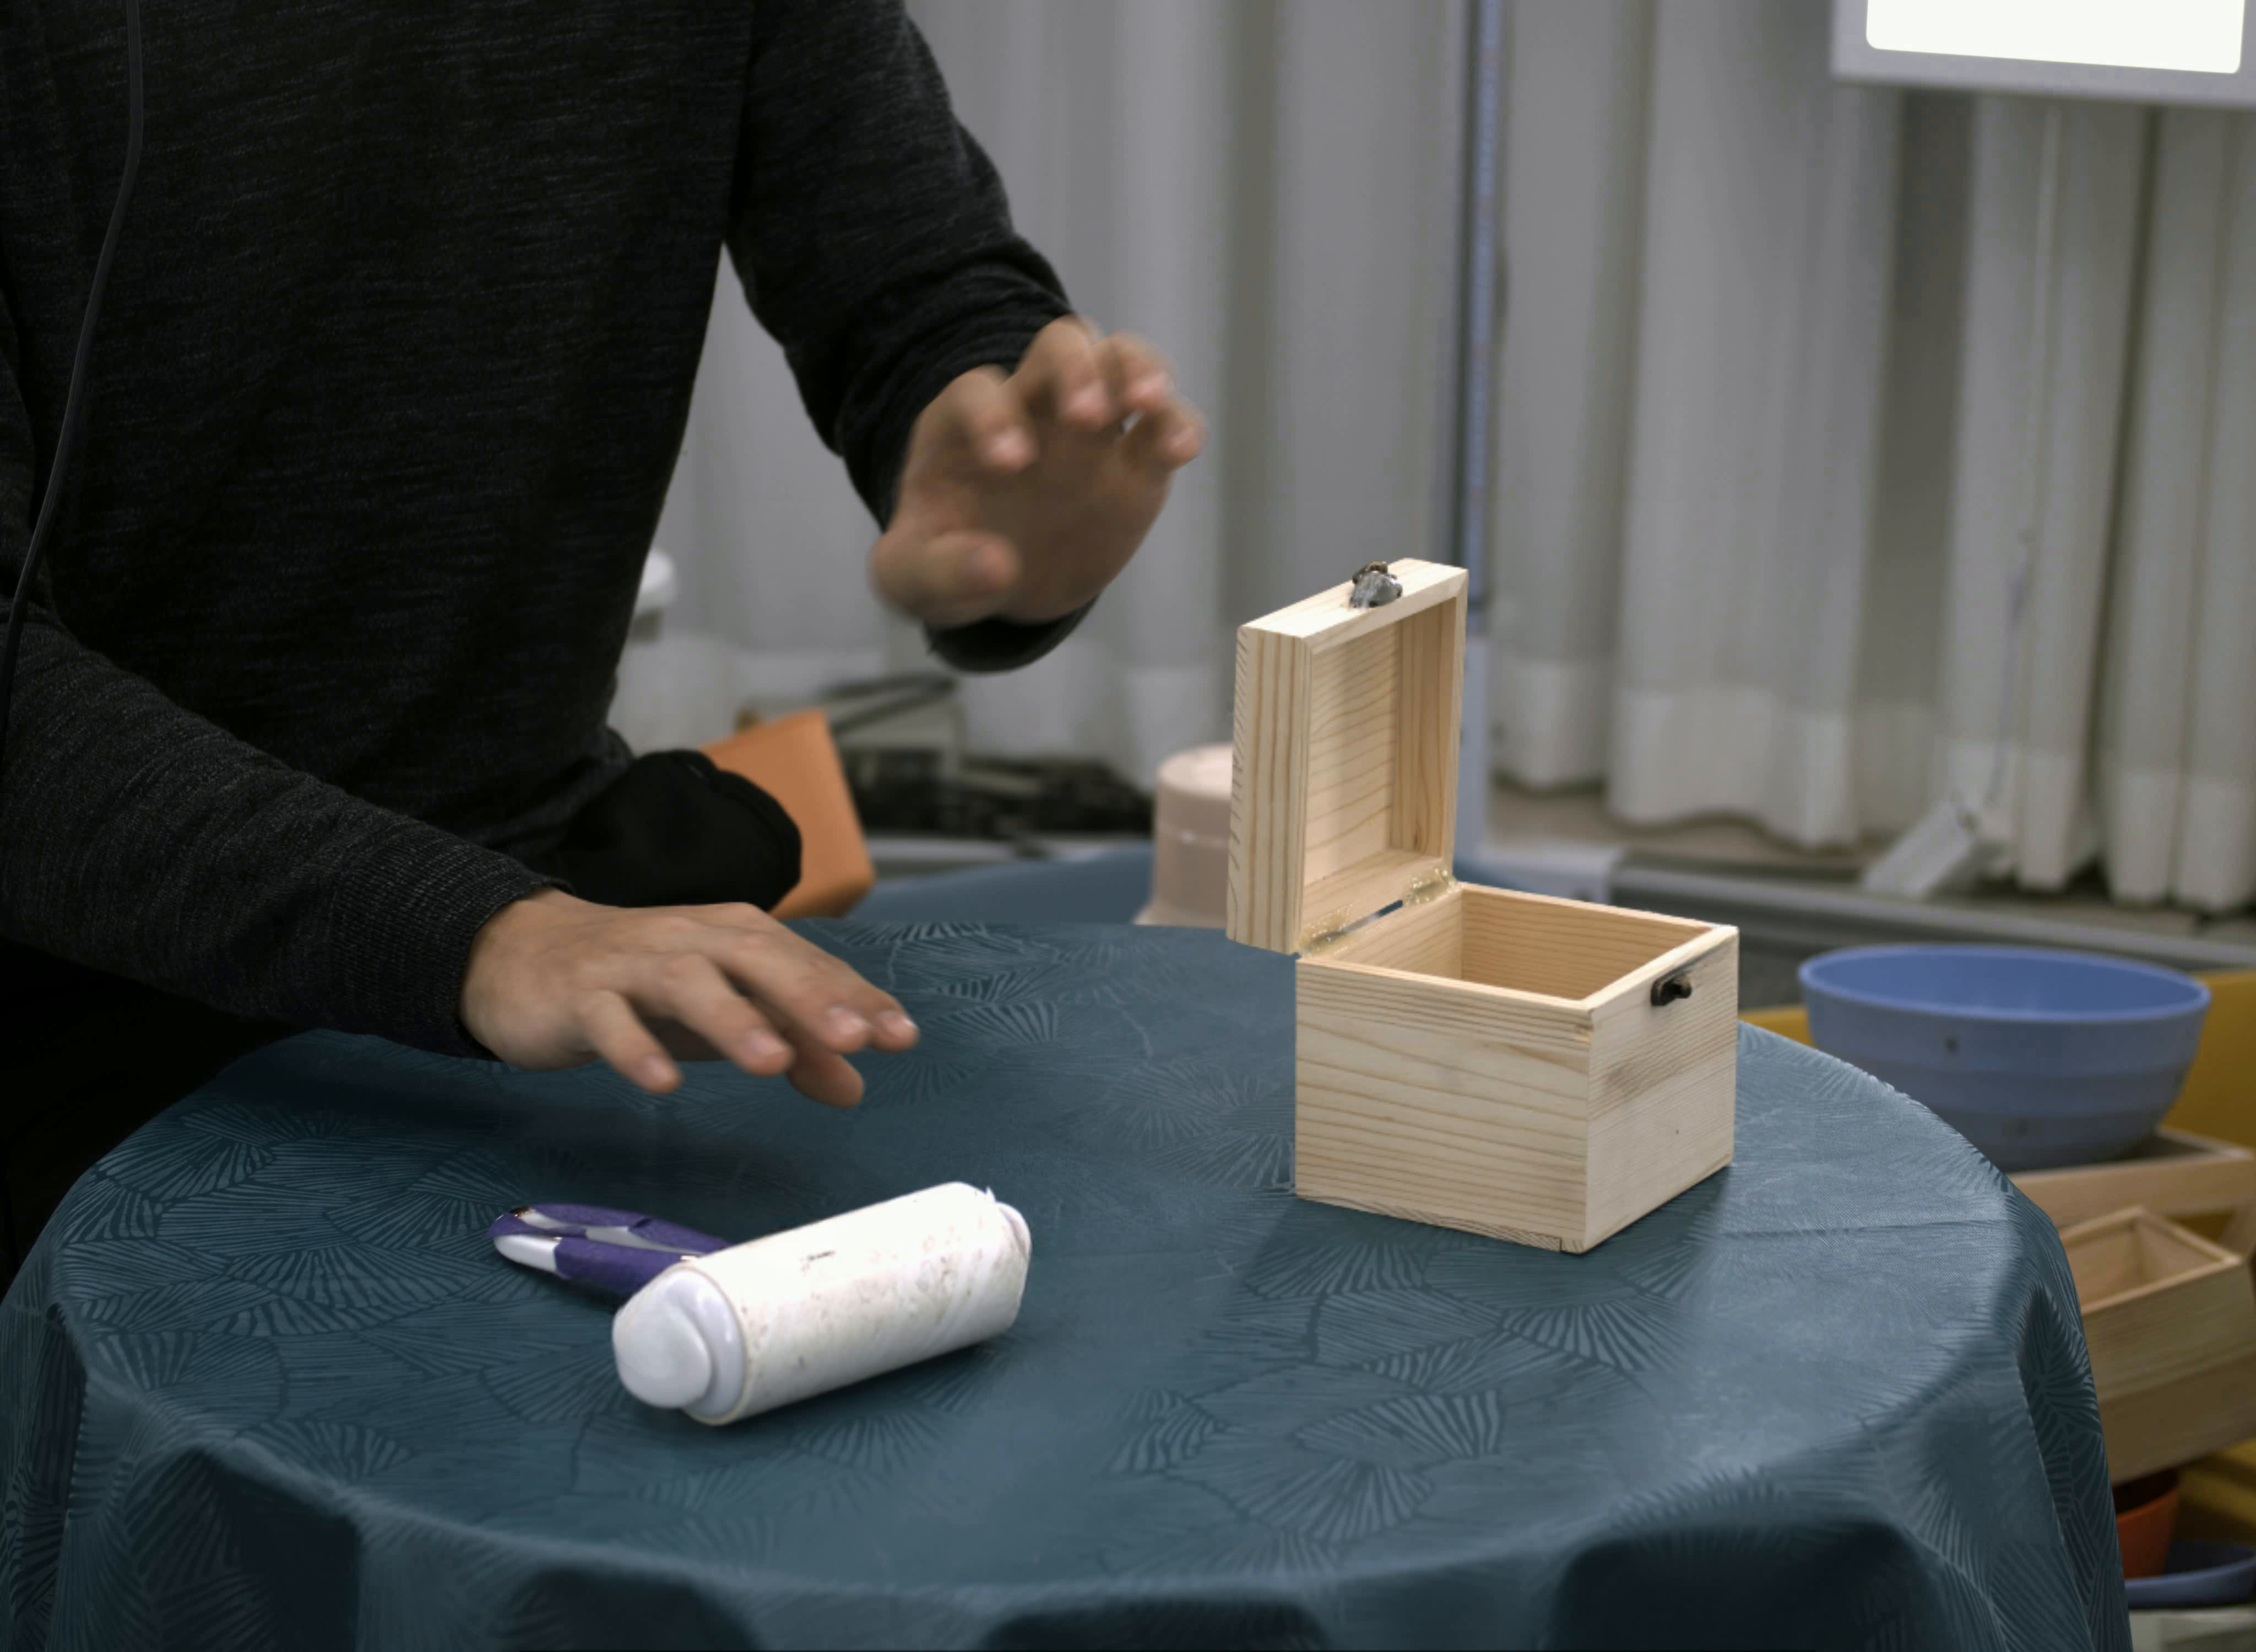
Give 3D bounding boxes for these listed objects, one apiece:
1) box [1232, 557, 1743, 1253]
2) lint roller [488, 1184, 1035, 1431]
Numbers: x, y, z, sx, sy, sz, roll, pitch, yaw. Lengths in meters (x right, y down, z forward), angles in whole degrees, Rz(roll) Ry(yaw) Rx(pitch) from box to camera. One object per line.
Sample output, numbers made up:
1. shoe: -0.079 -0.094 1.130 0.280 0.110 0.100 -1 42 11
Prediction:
1. box: 0.113 0.020 1.611 0.132 0.186 0.103 9 18 30
2. lint roller: -0.124 0.118 1.506 0.133 0.050 0.178 -14 23 -39
